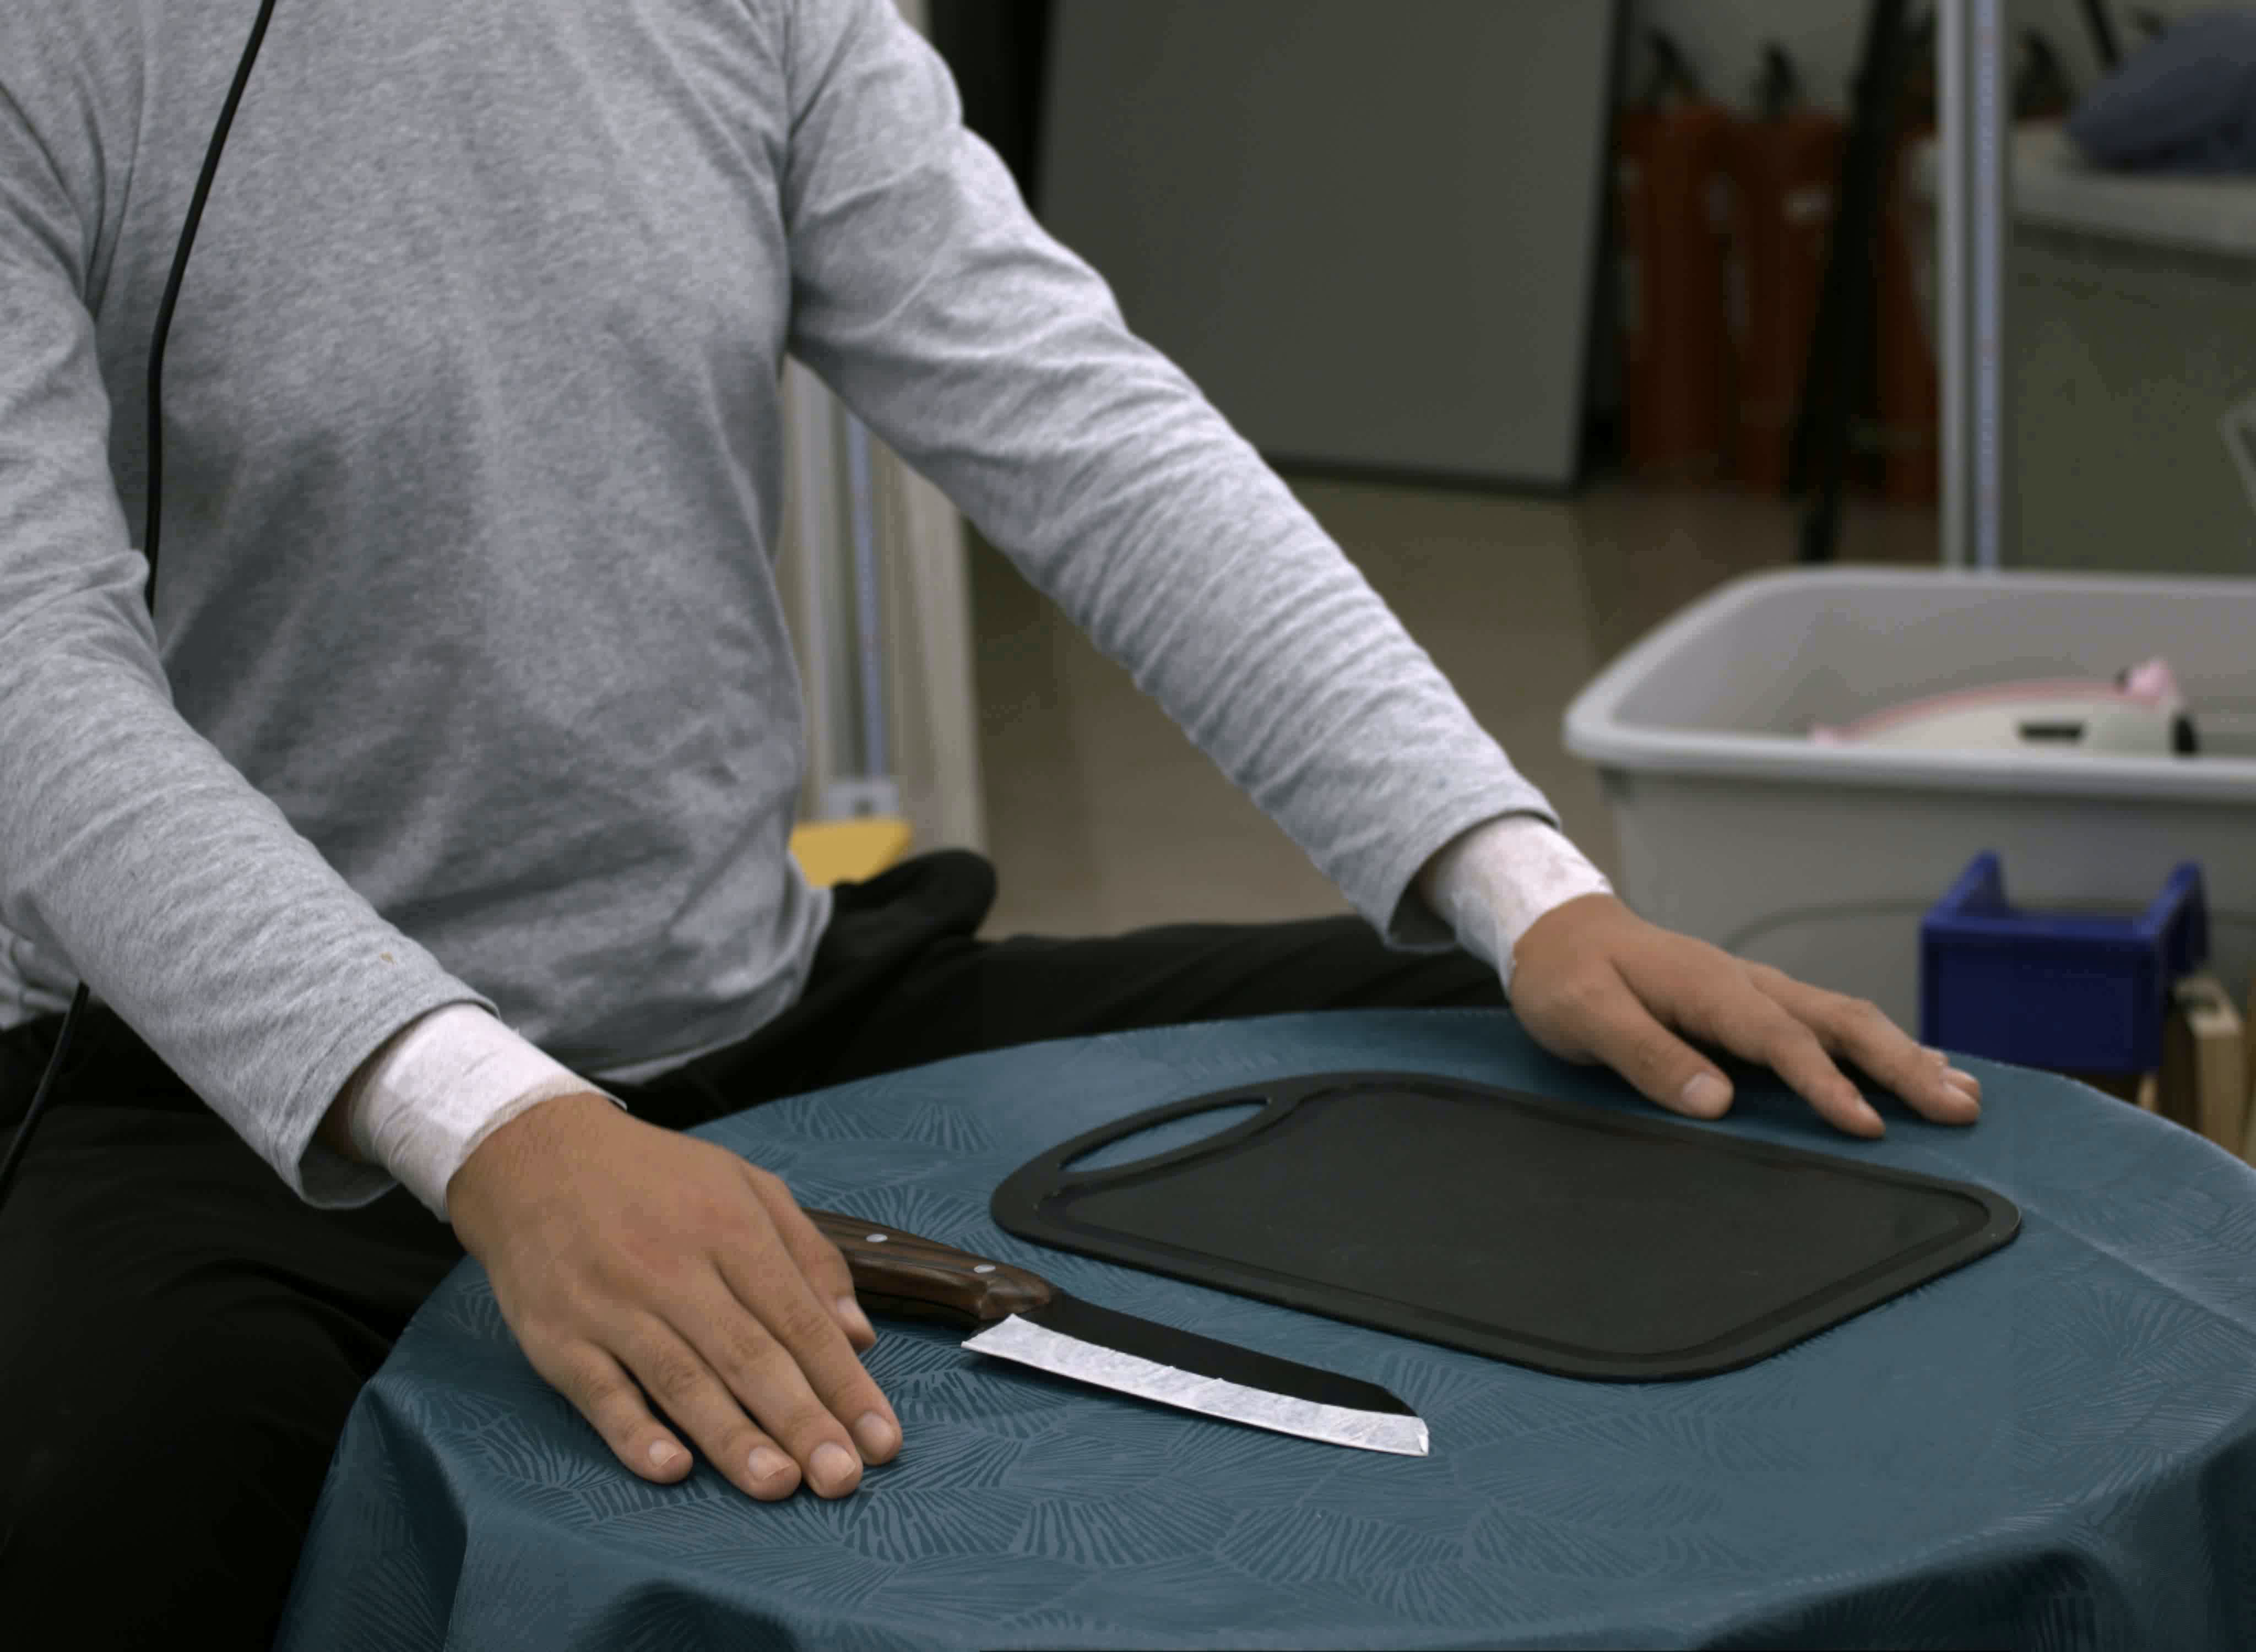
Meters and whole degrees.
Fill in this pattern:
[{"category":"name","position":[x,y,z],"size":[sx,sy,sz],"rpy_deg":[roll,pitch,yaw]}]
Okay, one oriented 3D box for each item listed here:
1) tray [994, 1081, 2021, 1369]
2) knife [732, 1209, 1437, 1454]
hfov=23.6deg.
[{"category":"tray","position":[0.111,0.122,1.727],"size":[0.207,0.010,0.328],"rpy_deg":[-16,18,-42]},{"category":"knife","position":[-0.017,0.153,1.618],"size":[0.292,0.020,0.049],"rpy_deg":[12,26,43]}]
